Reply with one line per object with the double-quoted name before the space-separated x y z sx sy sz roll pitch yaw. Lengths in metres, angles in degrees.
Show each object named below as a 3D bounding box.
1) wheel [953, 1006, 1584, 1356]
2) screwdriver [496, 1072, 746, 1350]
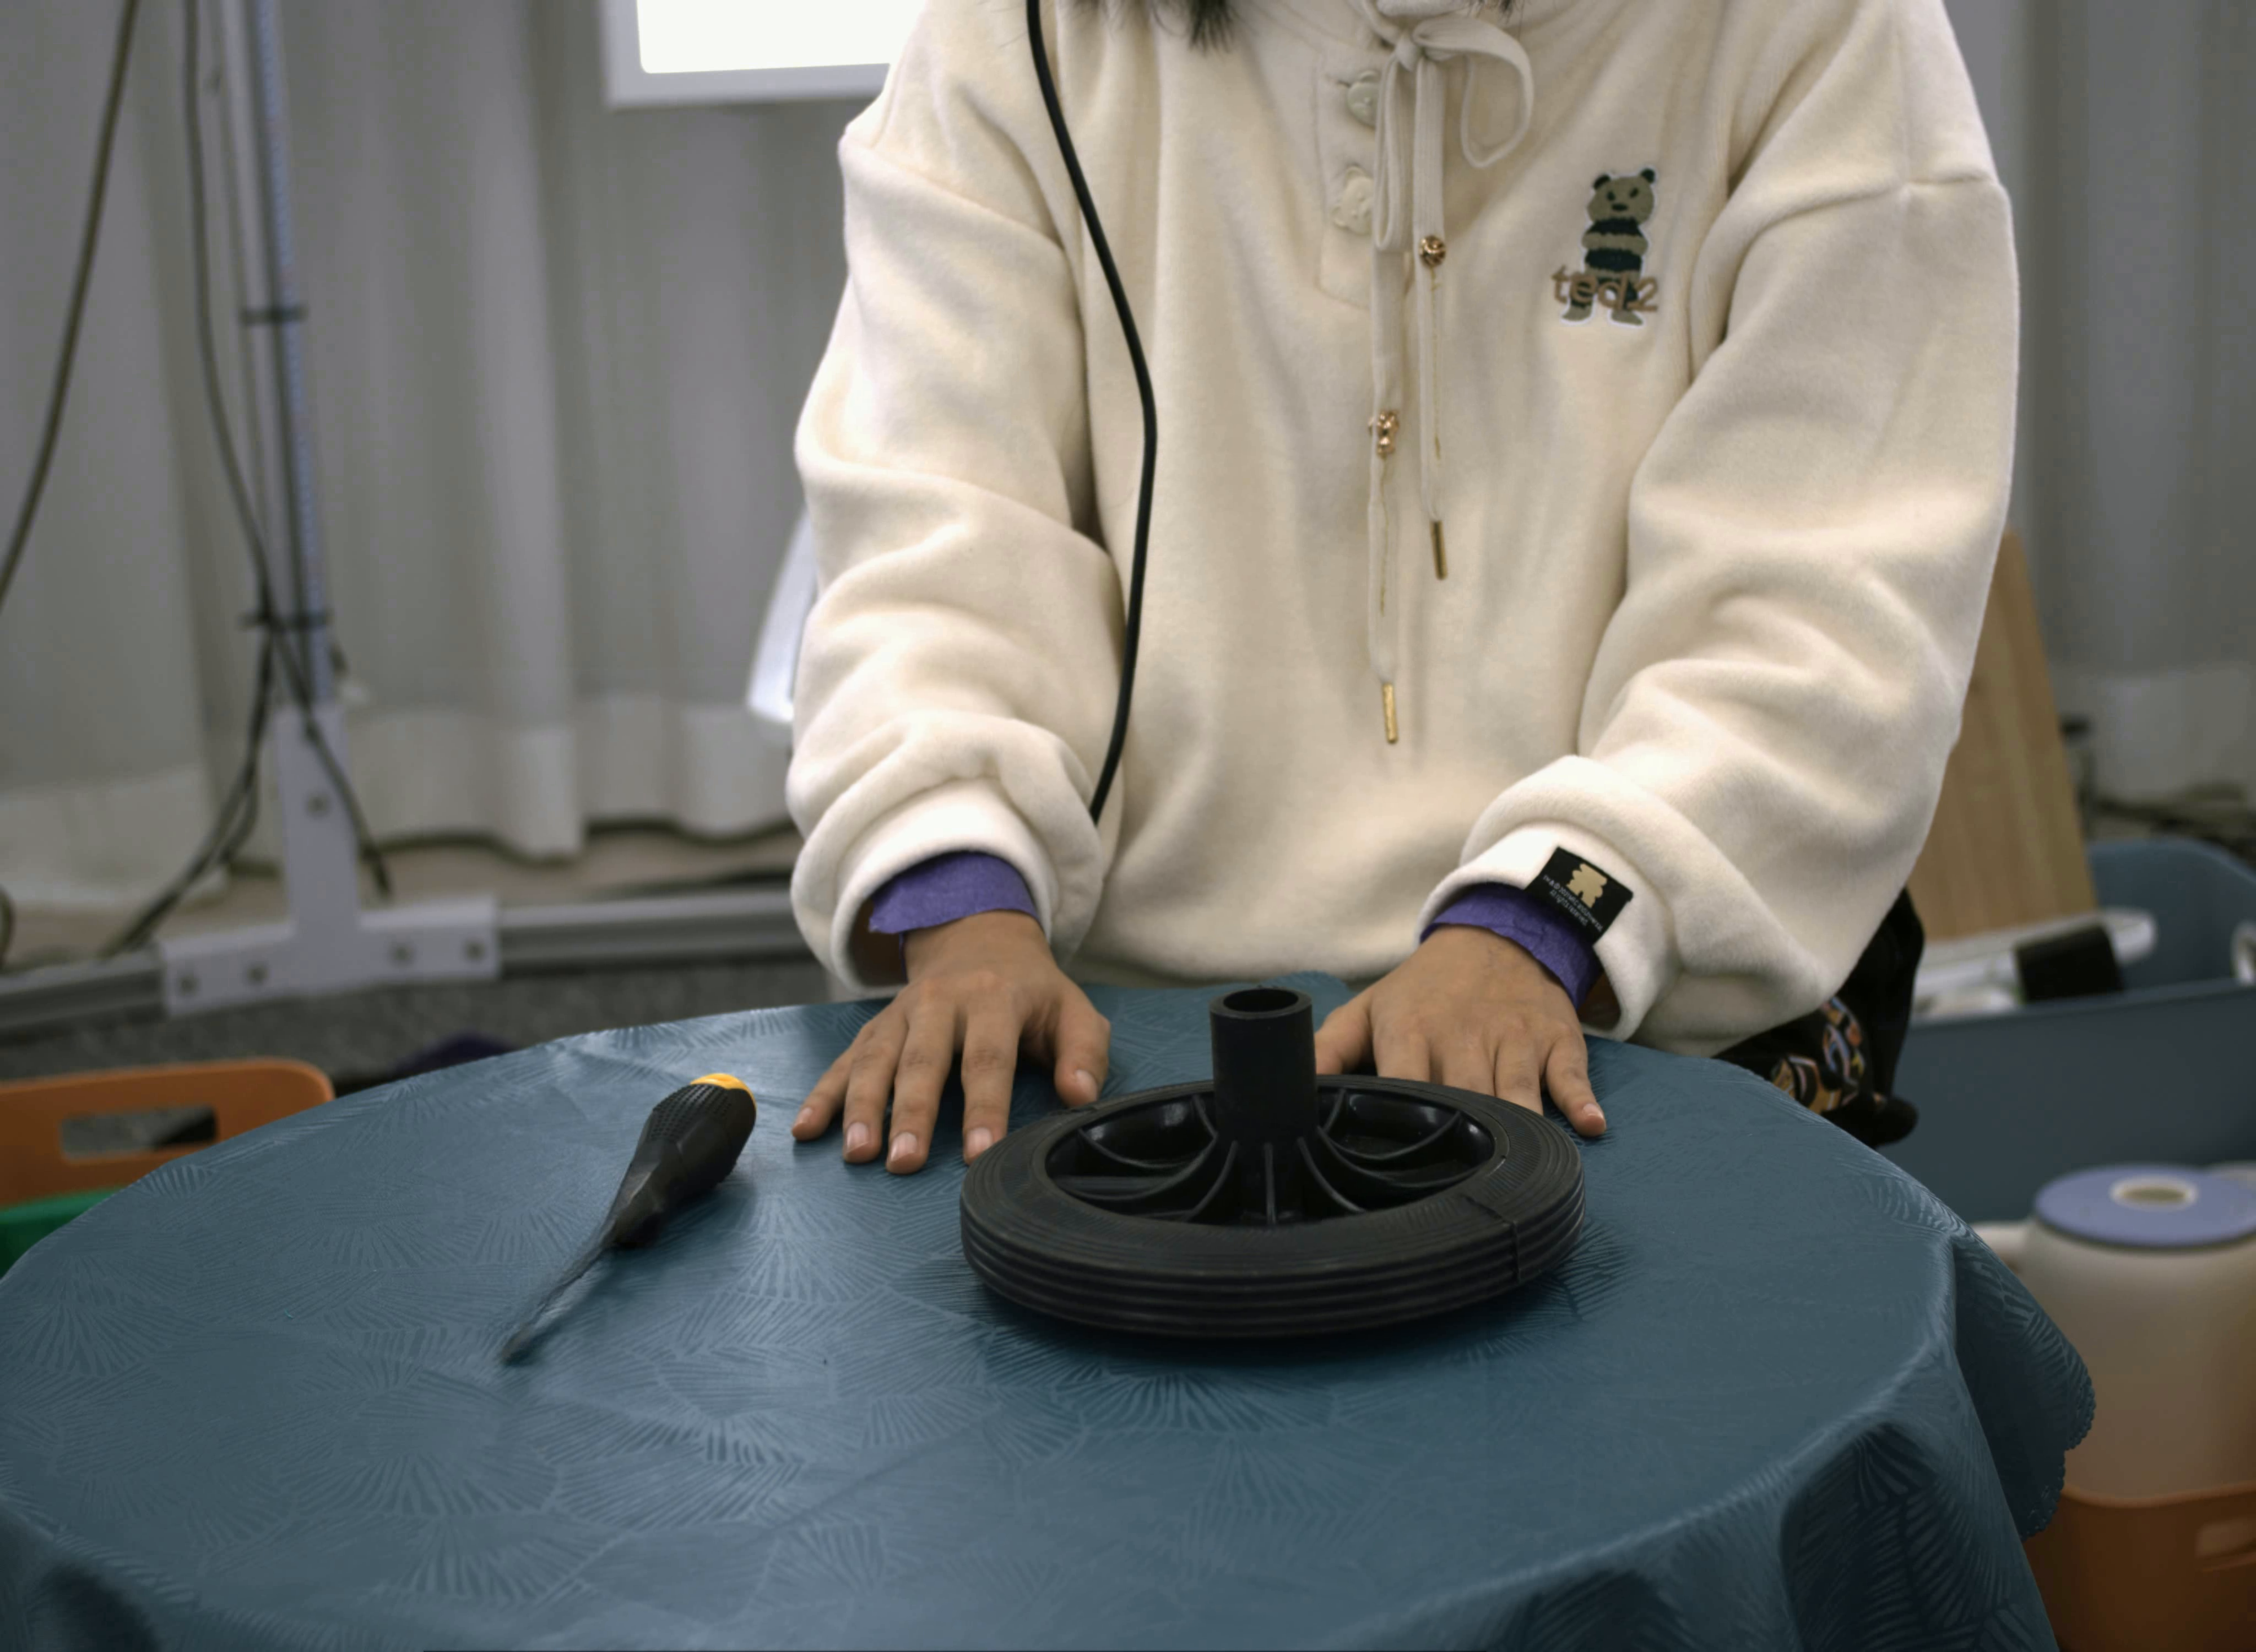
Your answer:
"wheel" 0.040 0.096 1.633 0.189 0.079 0.189 -9 15 -10
"screwdriver" -0.160 0.119 1.680 0.031 0.031 0.199 2 18 18
